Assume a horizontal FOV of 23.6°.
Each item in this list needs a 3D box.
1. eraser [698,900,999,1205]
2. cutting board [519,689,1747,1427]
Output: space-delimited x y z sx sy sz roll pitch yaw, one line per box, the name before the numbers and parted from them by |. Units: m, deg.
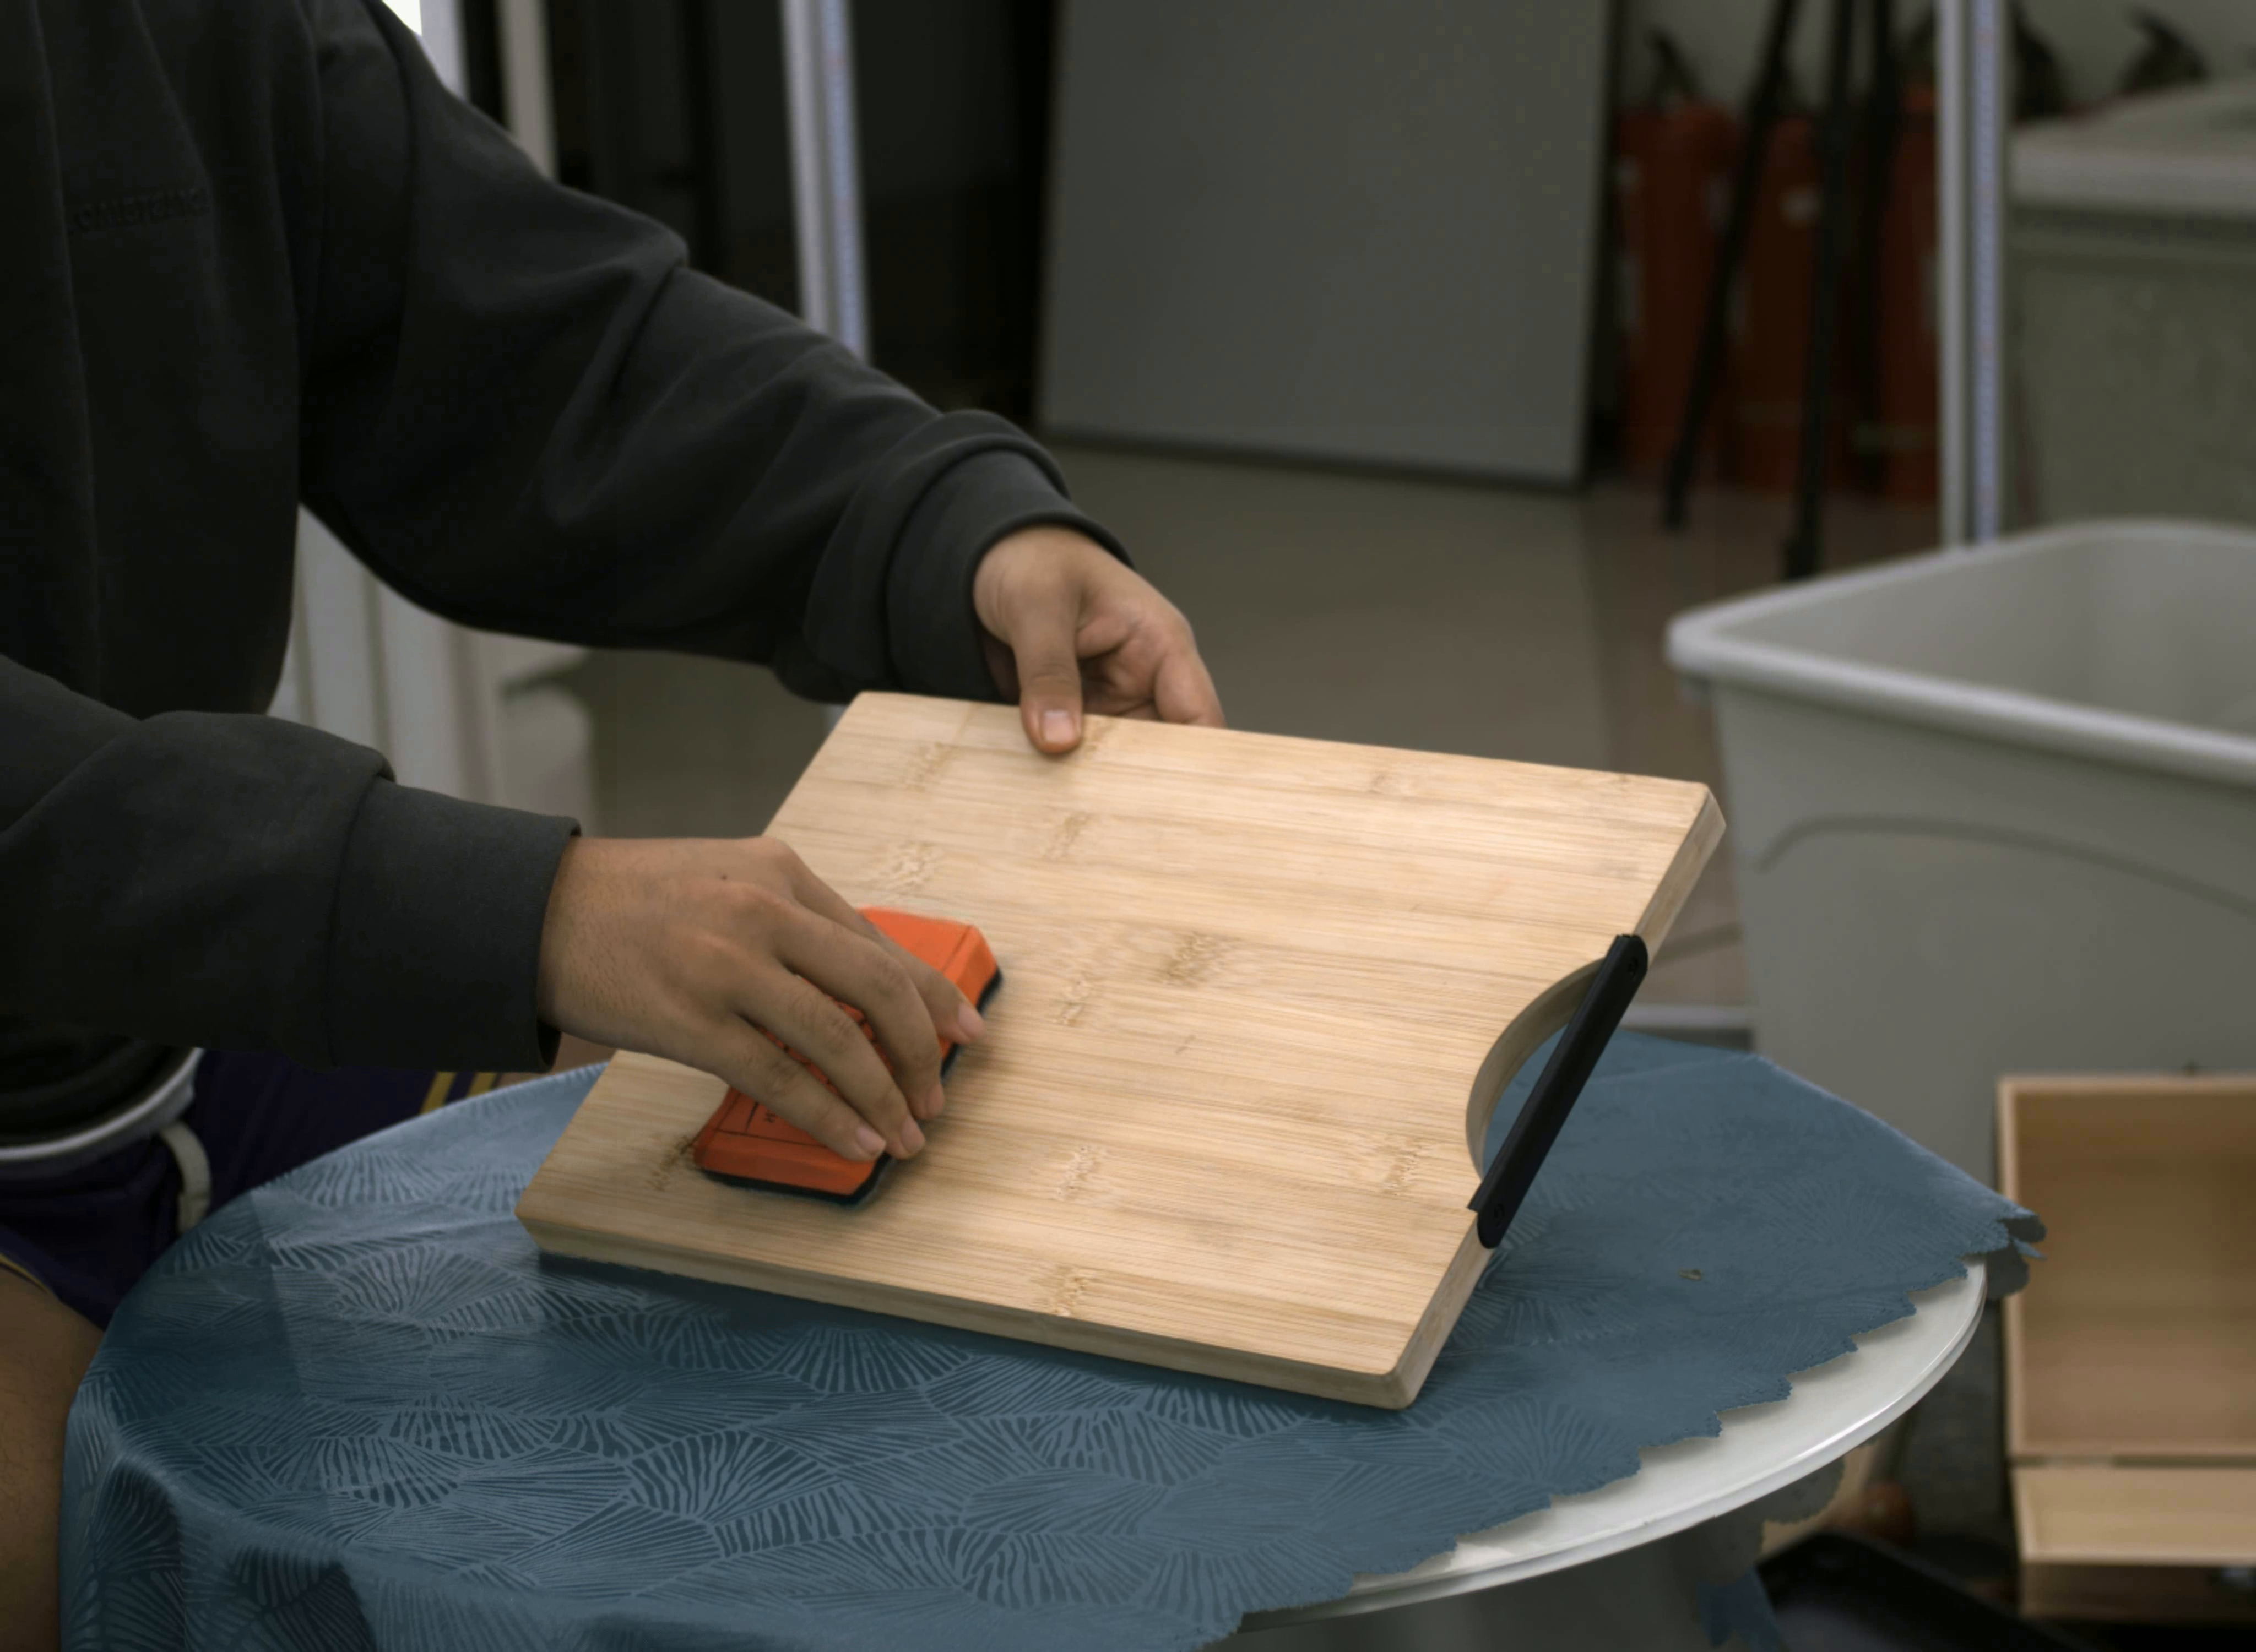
eraser | -0.088 0.071 1.710 0.059 0.023 0.108 7 48 31
cutting board | -0.001 0.063 1.704 0.351 0.023 0.250 5 50 36
